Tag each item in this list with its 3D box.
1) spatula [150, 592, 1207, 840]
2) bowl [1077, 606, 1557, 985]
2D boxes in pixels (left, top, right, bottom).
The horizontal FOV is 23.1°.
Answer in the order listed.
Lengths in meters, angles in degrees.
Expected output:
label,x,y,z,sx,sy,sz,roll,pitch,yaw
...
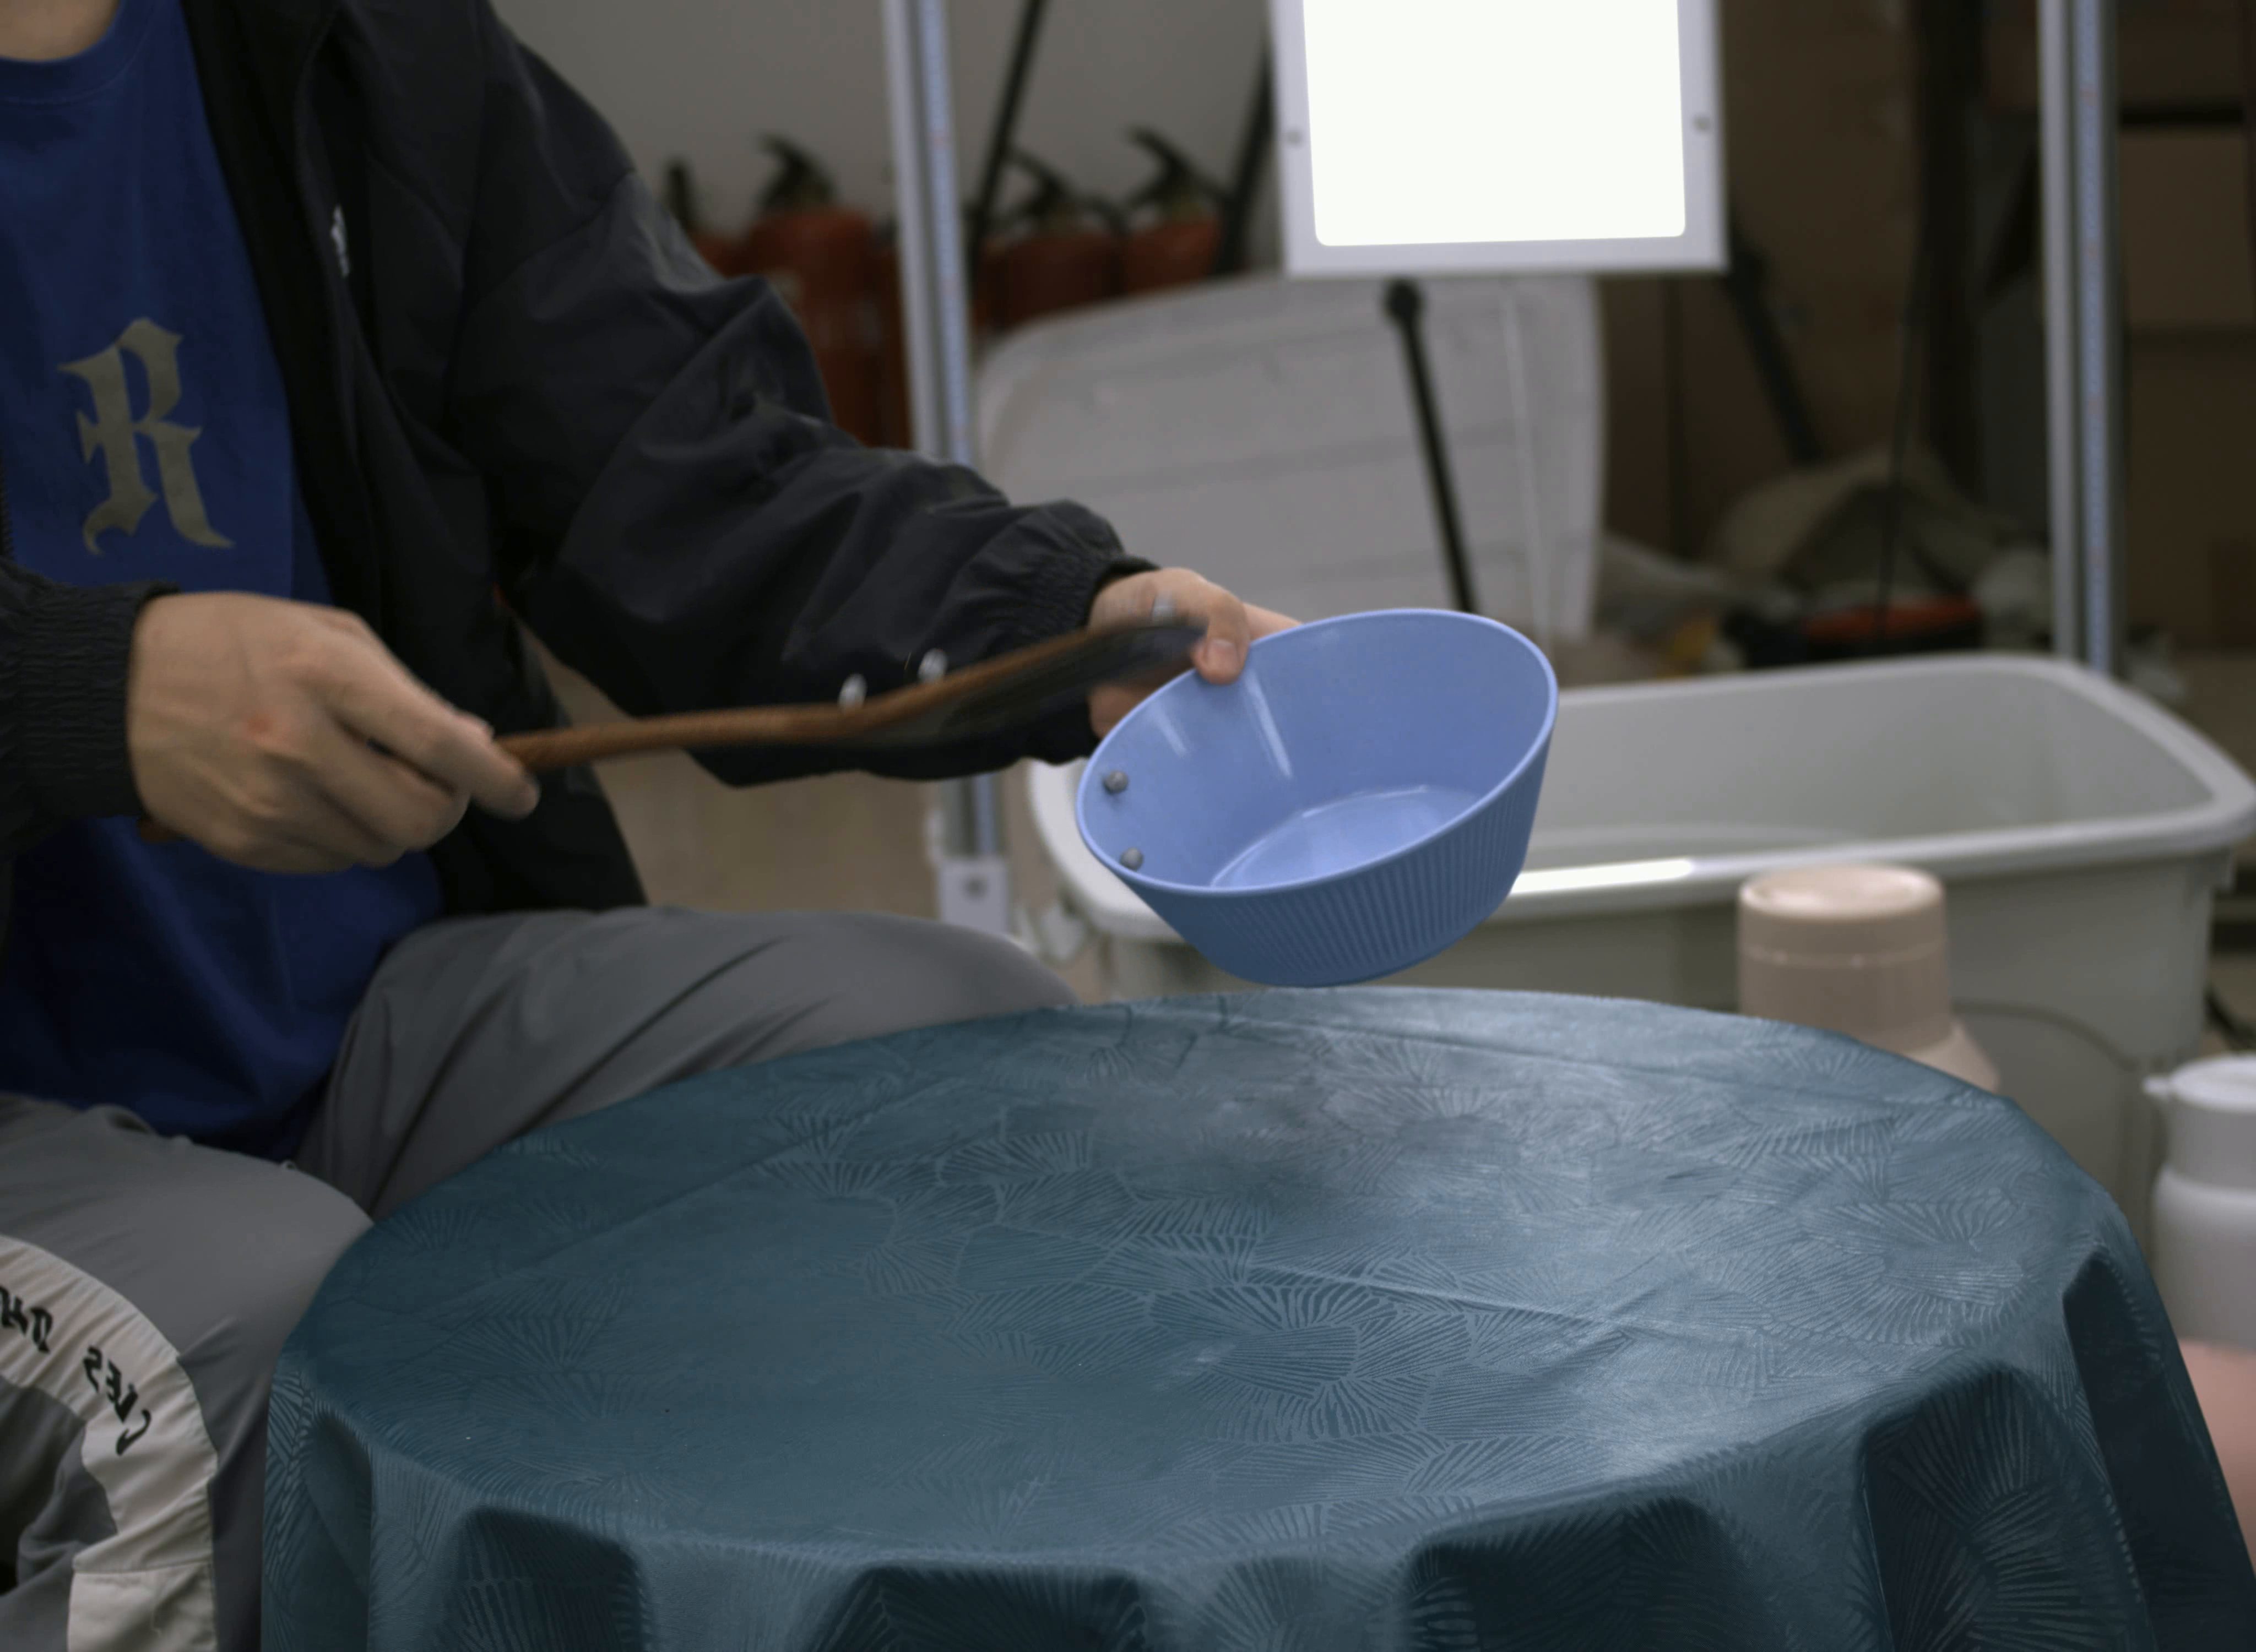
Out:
label,x,y,z,sx,sy,sz,roll,pitch,yaw
spatula,-0.156,-0.031,1.810,0.393,0.024,0.084,-10,-4,24
bowl,0.075,-0.003,1.936,0.177,0.070,0.175,-17,29,8
